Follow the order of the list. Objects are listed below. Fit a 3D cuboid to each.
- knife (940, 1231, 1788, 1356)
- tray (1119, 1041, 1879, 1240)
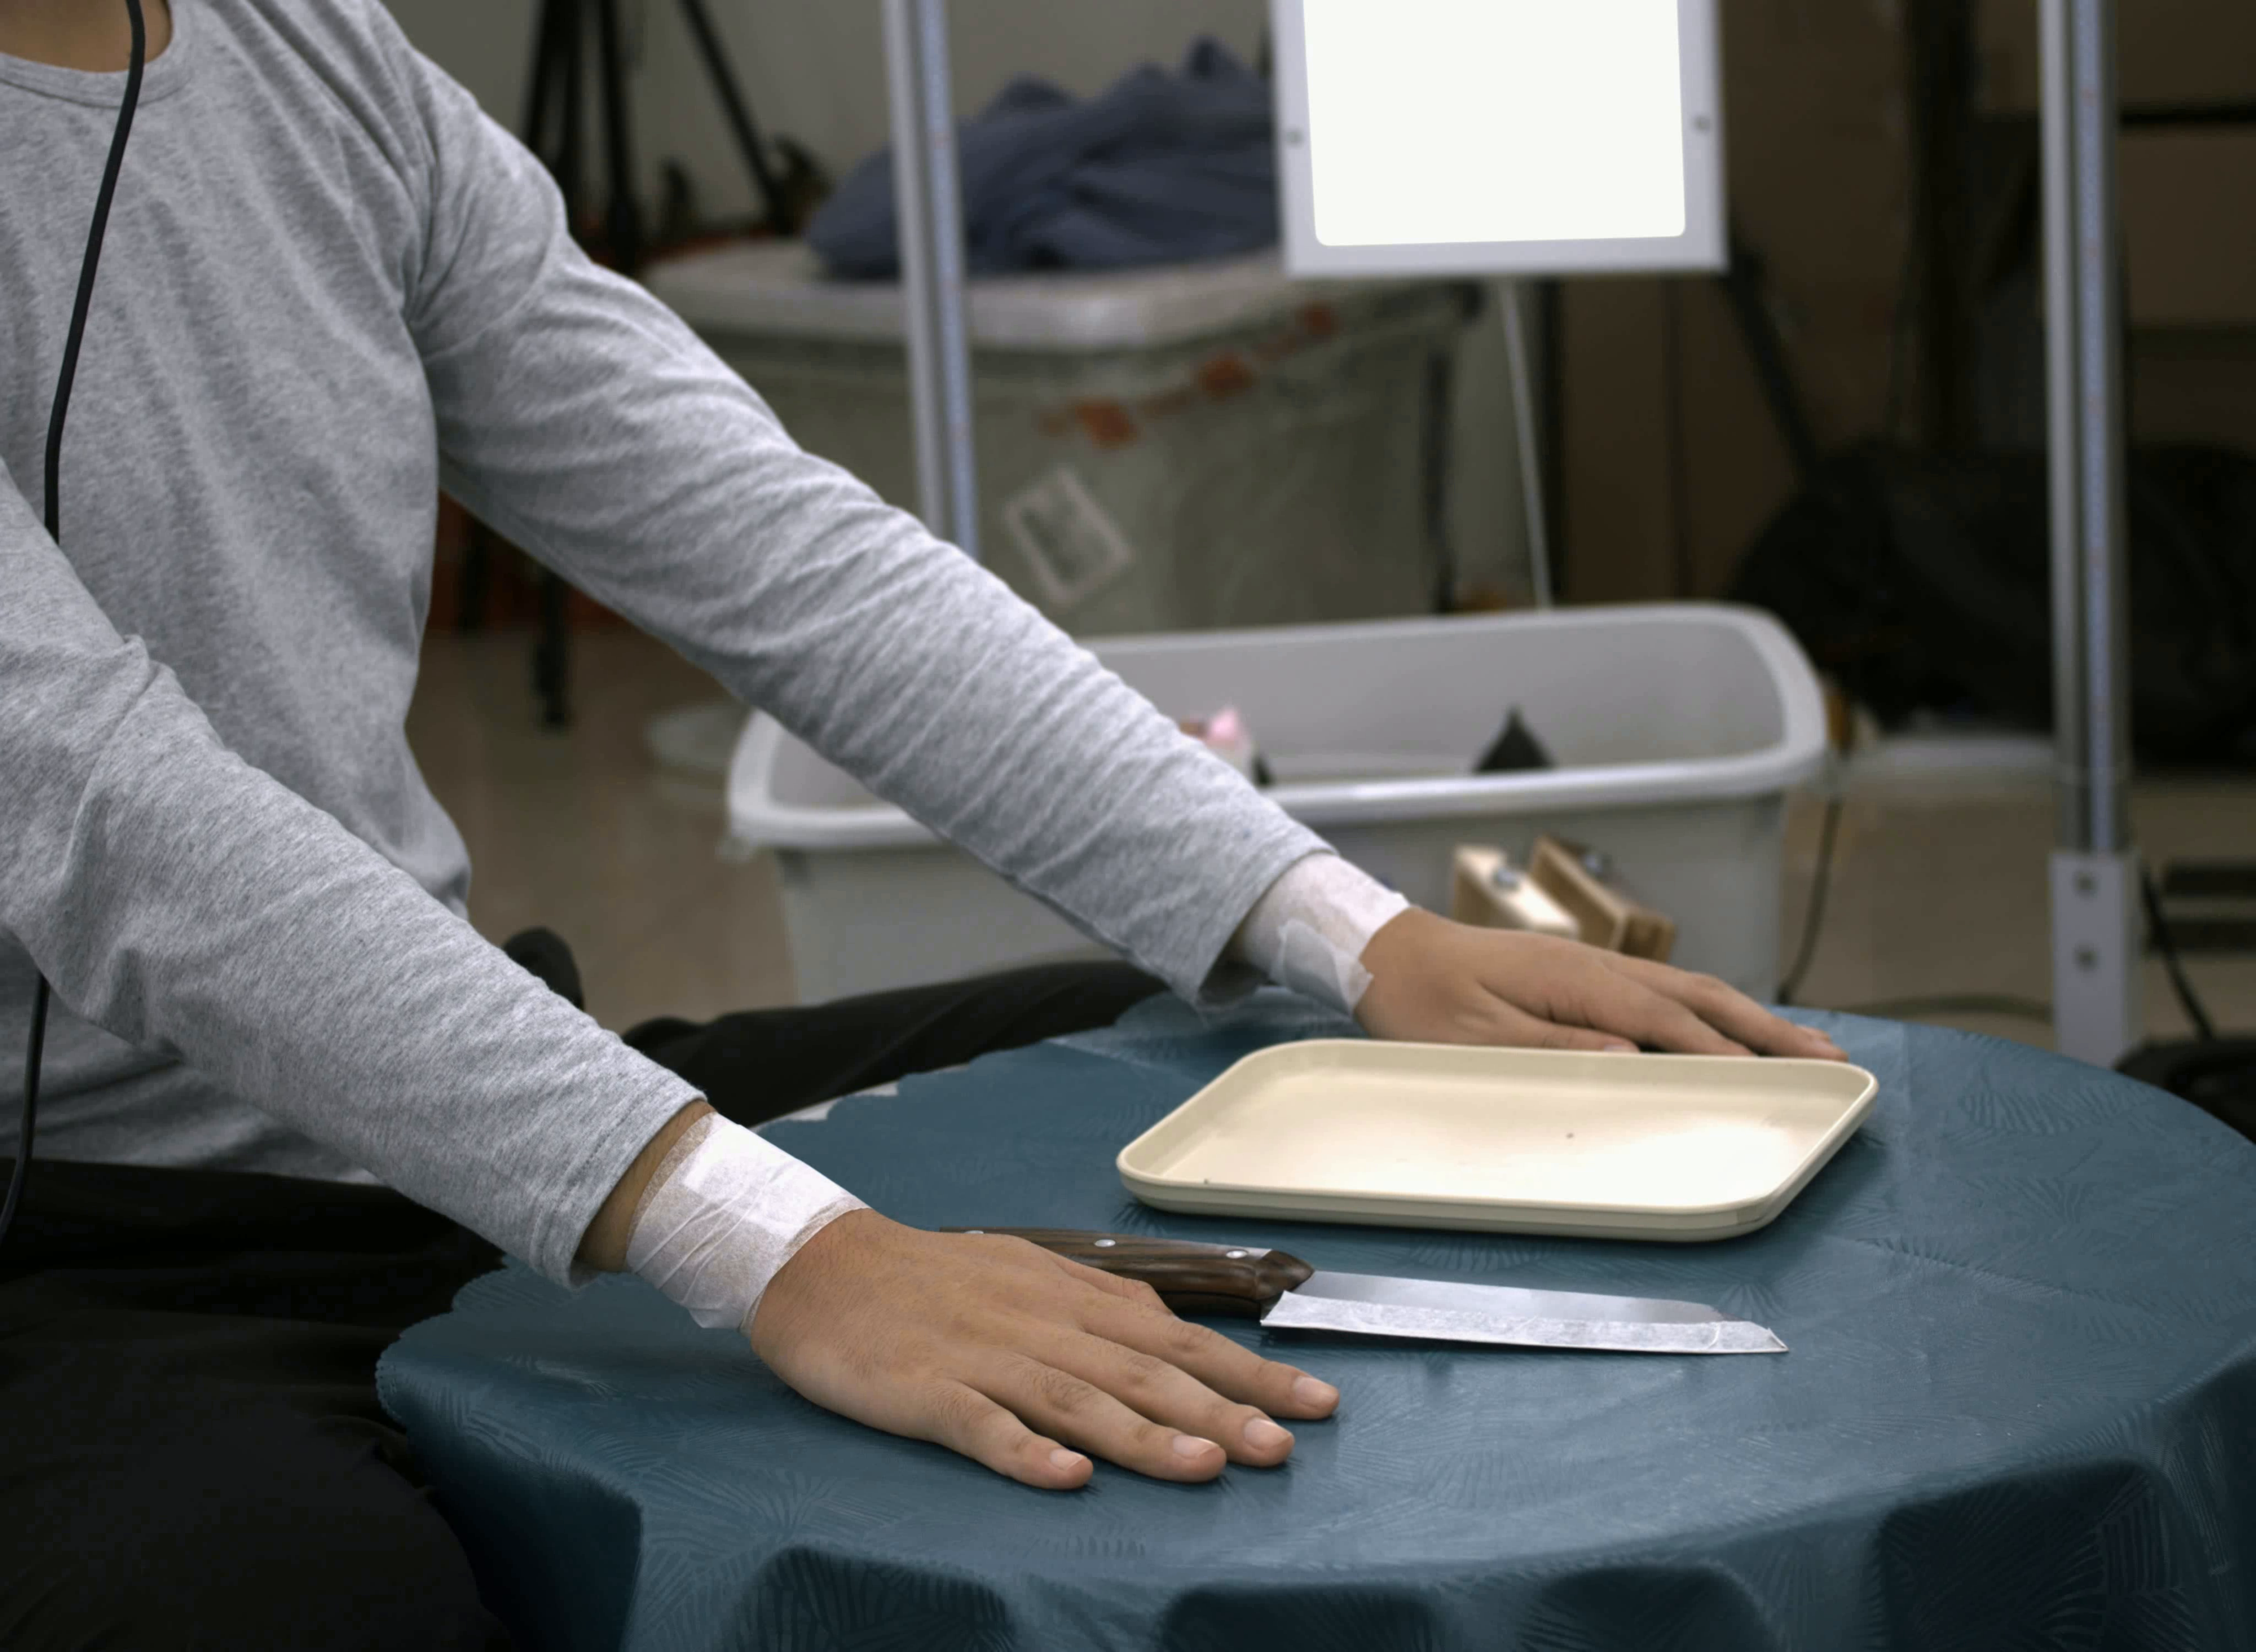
[{"bbox_3d":[0.071,0.151,1.747,0.293,0.020,0.049,3,21,23],"label":"knife"},{"bbox_3d":[0.130,0.108,1.894,0.243,0.017,0.168,1,15,26],"label":"tray"}]
